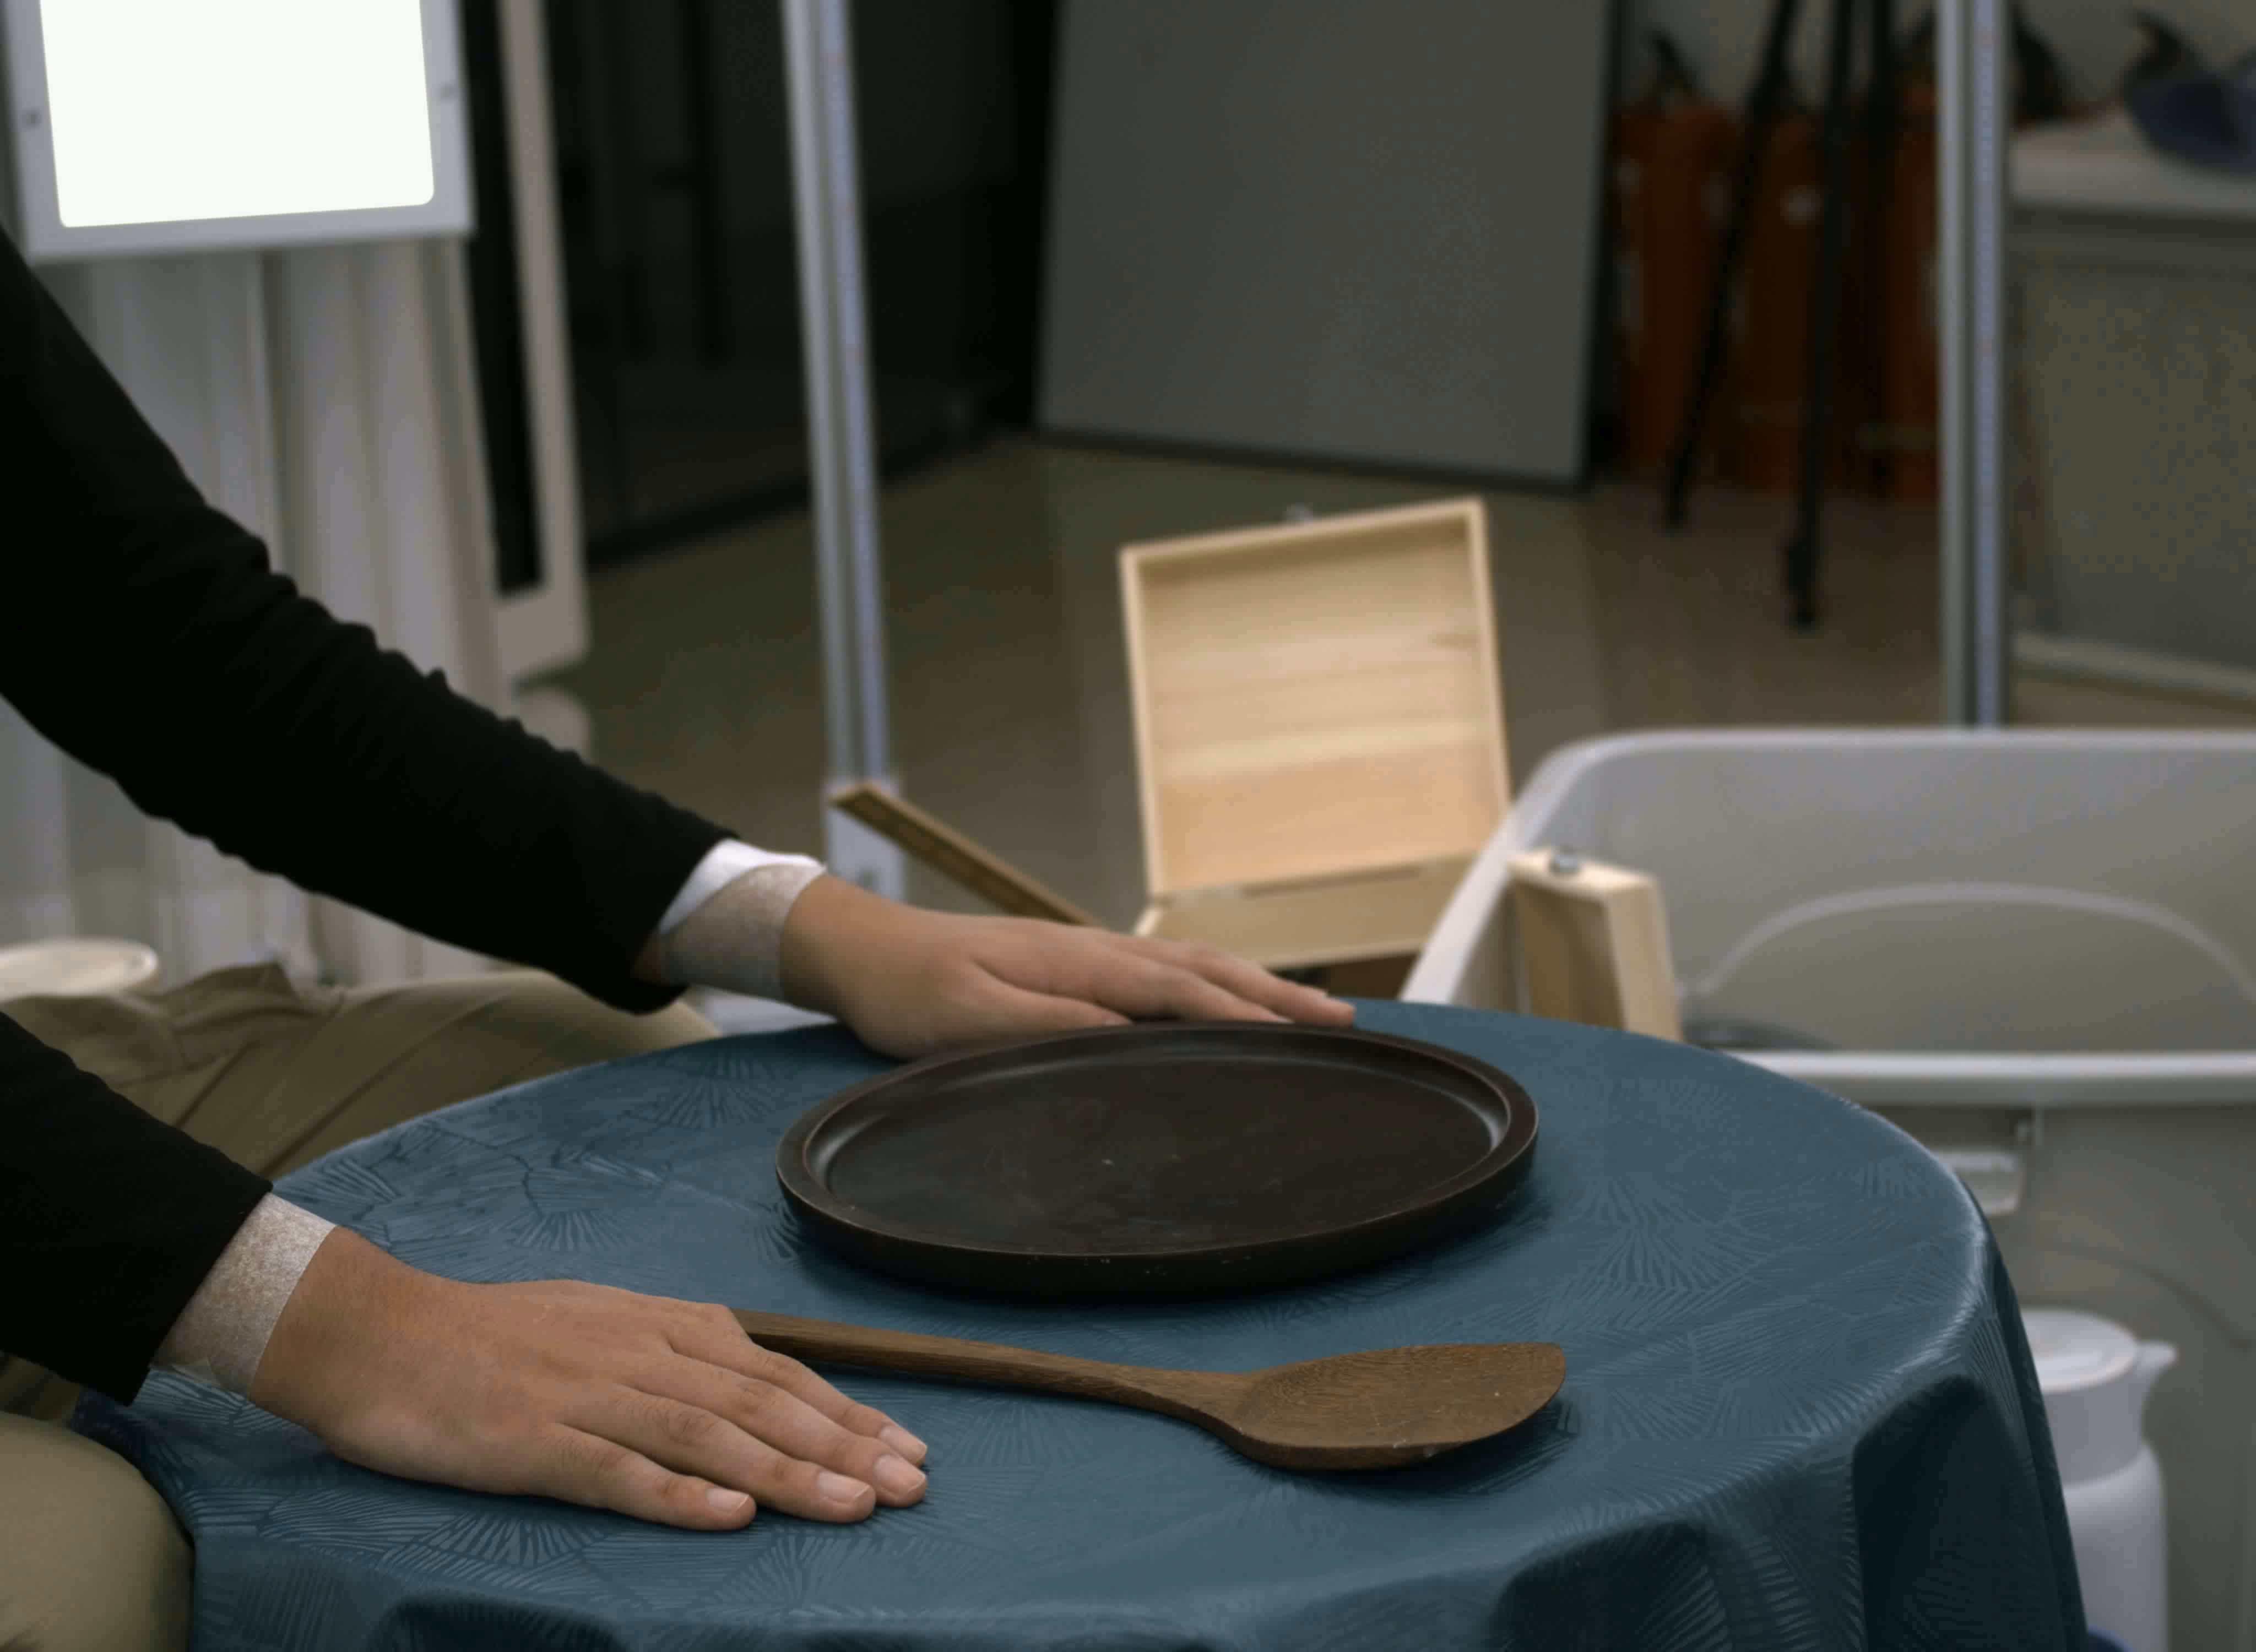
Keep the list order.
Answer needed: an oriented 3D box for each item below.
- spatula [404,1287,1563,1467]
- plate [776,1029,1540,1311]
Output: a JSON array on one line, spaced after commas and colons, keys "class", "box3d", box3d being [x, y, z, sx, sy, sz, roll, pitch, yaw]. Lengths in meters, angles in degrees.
[{"class": "spatula", "box3d": [-0.054, 0.158, 1.603, 0.387, 0.016, 0.095, 3, 15, 28]}, {"class": "plate", "box3d": [0.010, 0.109, 1.764, 0.251, 0.029, 0.255, -5, 15, 0]}]
